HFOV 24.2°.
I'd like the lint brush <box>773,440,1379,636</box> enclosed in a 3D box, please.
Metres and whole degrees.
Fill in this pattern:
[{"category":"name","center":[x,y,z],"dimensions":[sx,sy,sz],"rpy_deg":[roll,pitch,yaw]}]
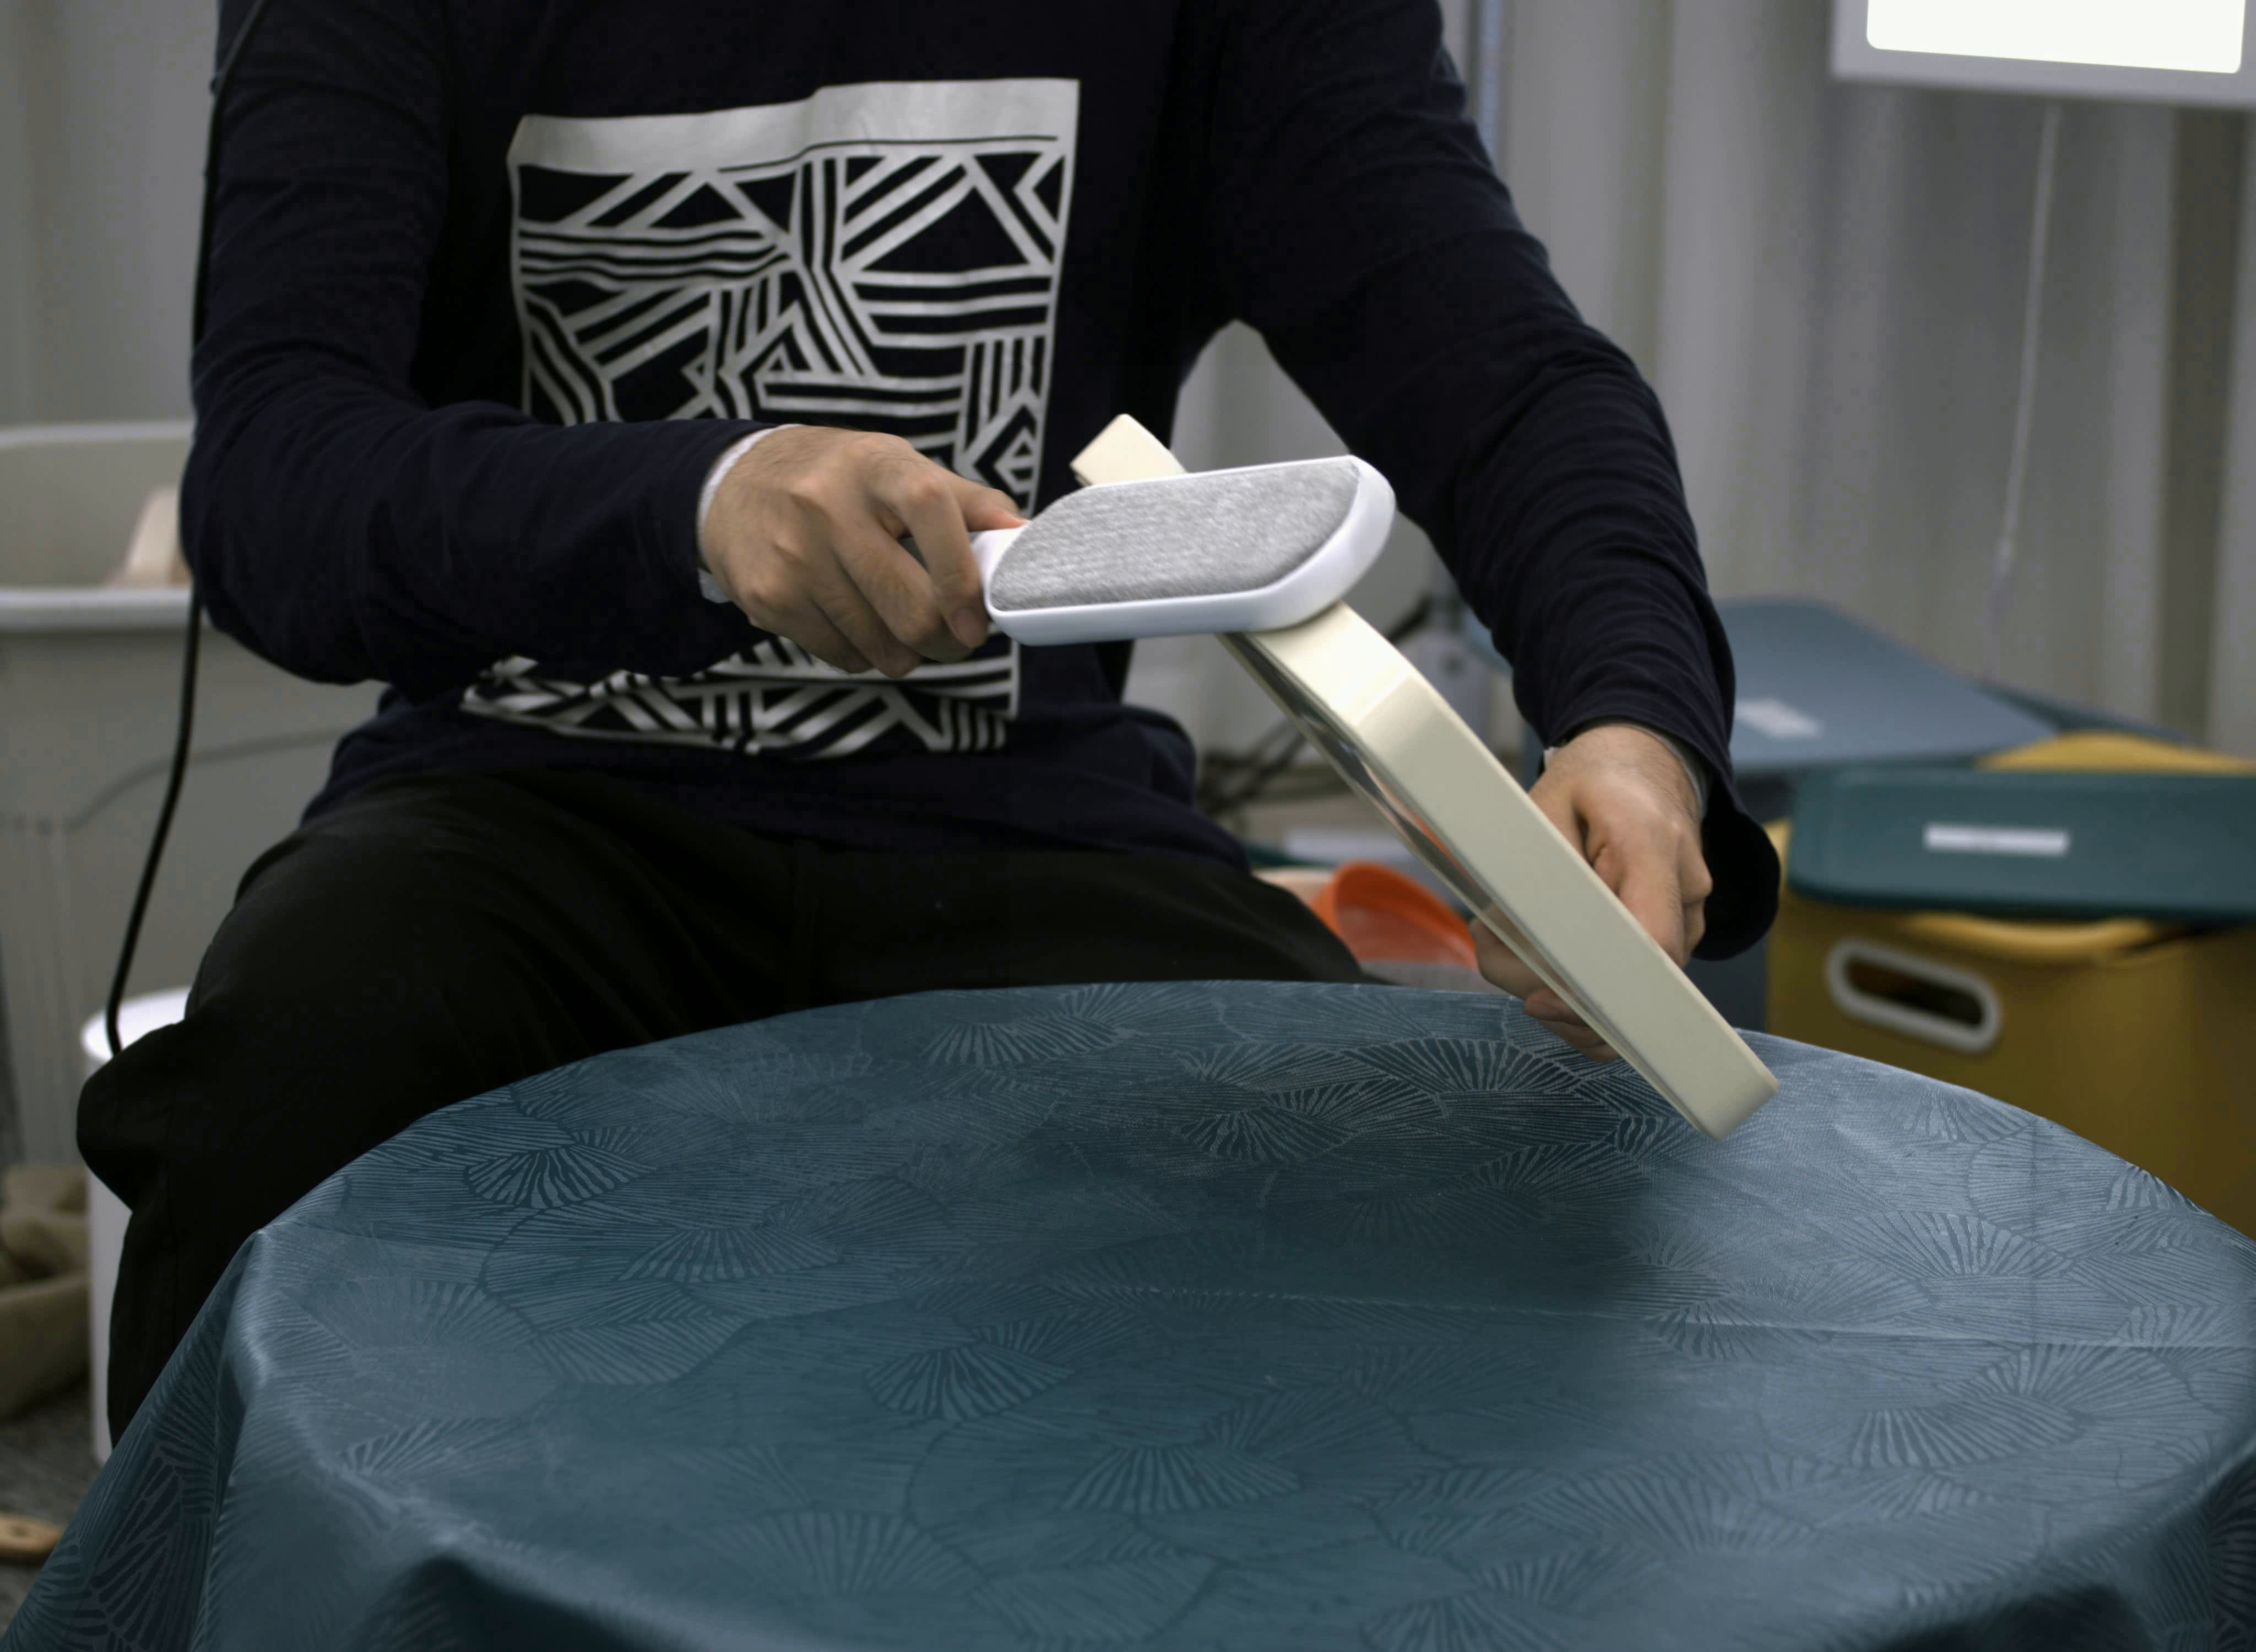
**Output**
[{"category":"lint brush","center":[-0.023,-0.084,1.614],"dimensions":[0.021,0.060,0.306],"rpy_deg":[40,-23,-28]}]

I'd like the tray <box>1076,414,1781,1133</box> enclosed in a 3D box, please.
[{"category":"tray","center":[0.085,-0.021,1.611],"dimensions":[0.027,0.193,0.297],"rpy_deg":[-42,24,-1]}]
